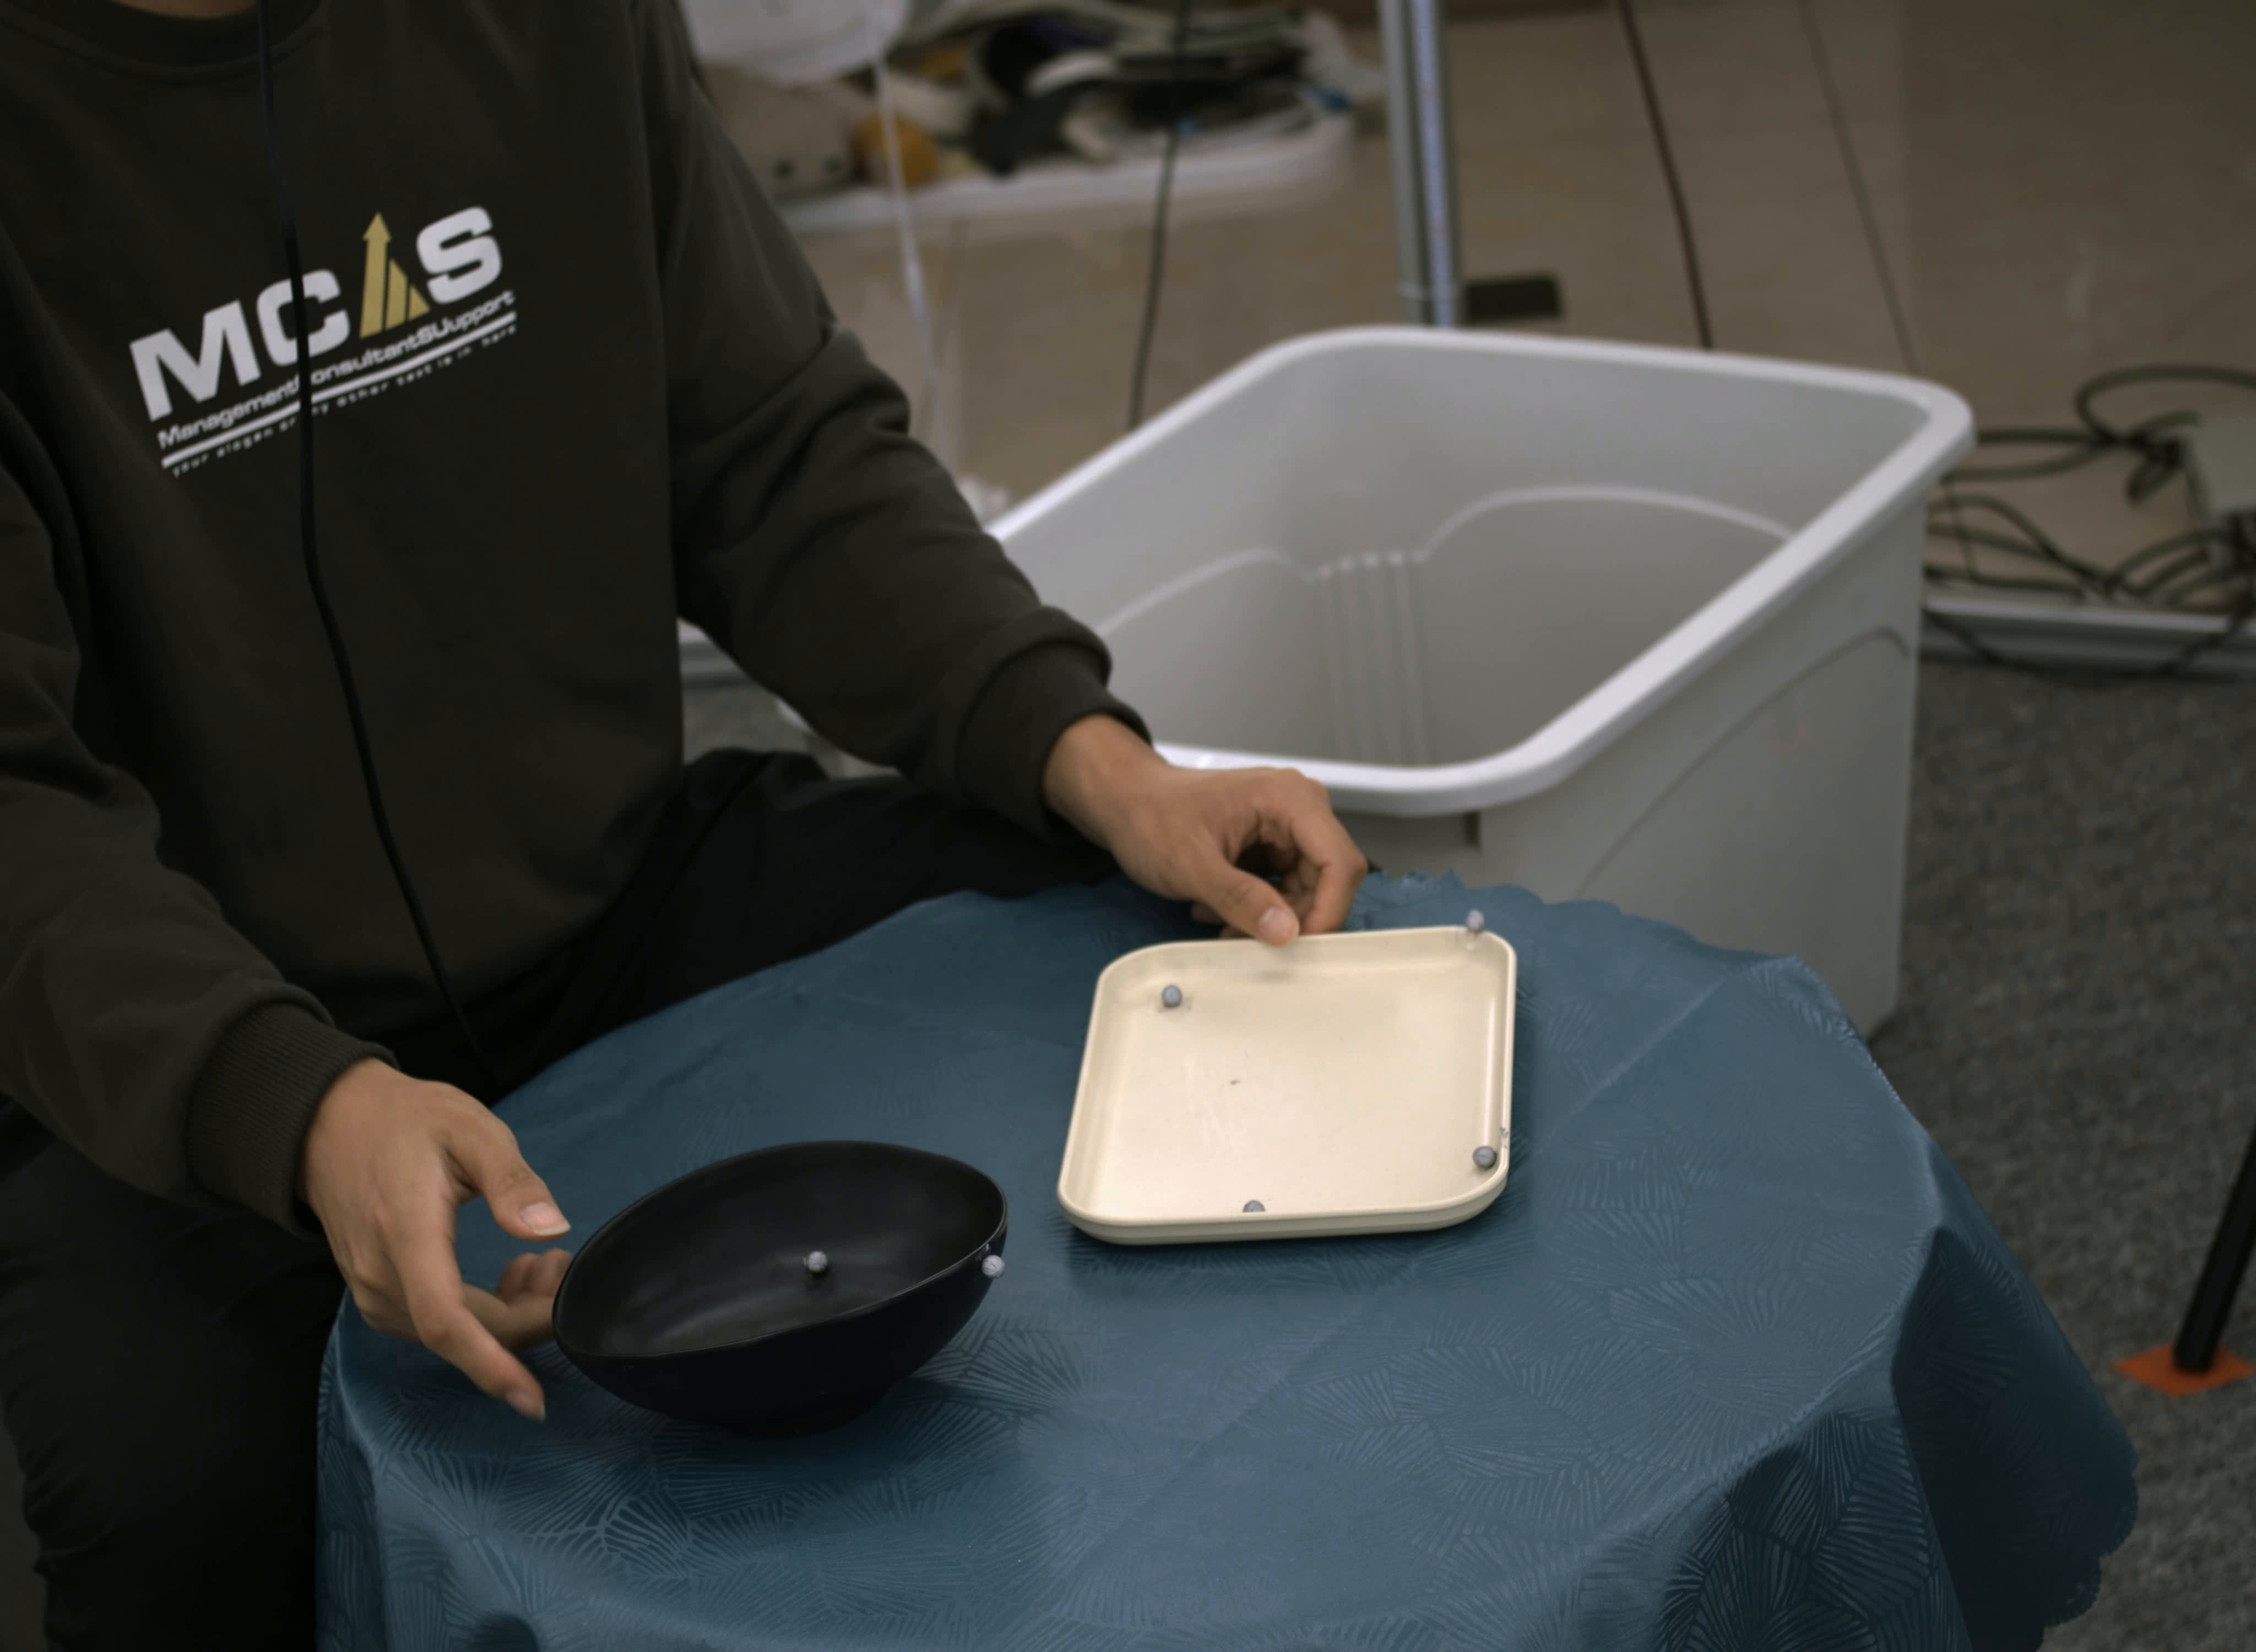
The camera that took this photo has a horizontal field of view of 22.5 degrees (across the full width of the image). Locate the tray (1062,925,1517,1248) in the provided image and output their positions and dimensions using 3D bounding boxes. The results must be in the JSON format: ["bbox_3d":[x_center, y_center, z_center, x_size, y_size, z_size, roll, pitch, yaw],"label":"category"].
[{"bbox_3d":[0.066,0.100,2.194,0.171,0.018,0.236,-4,24,7],"label":"tray"}]

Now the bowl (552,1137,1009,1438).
[{"bbox_3d":[-0.119,0.174,2.024,0.169,0.068,0.136,-19,26,-21],"label":"bowl"}]
